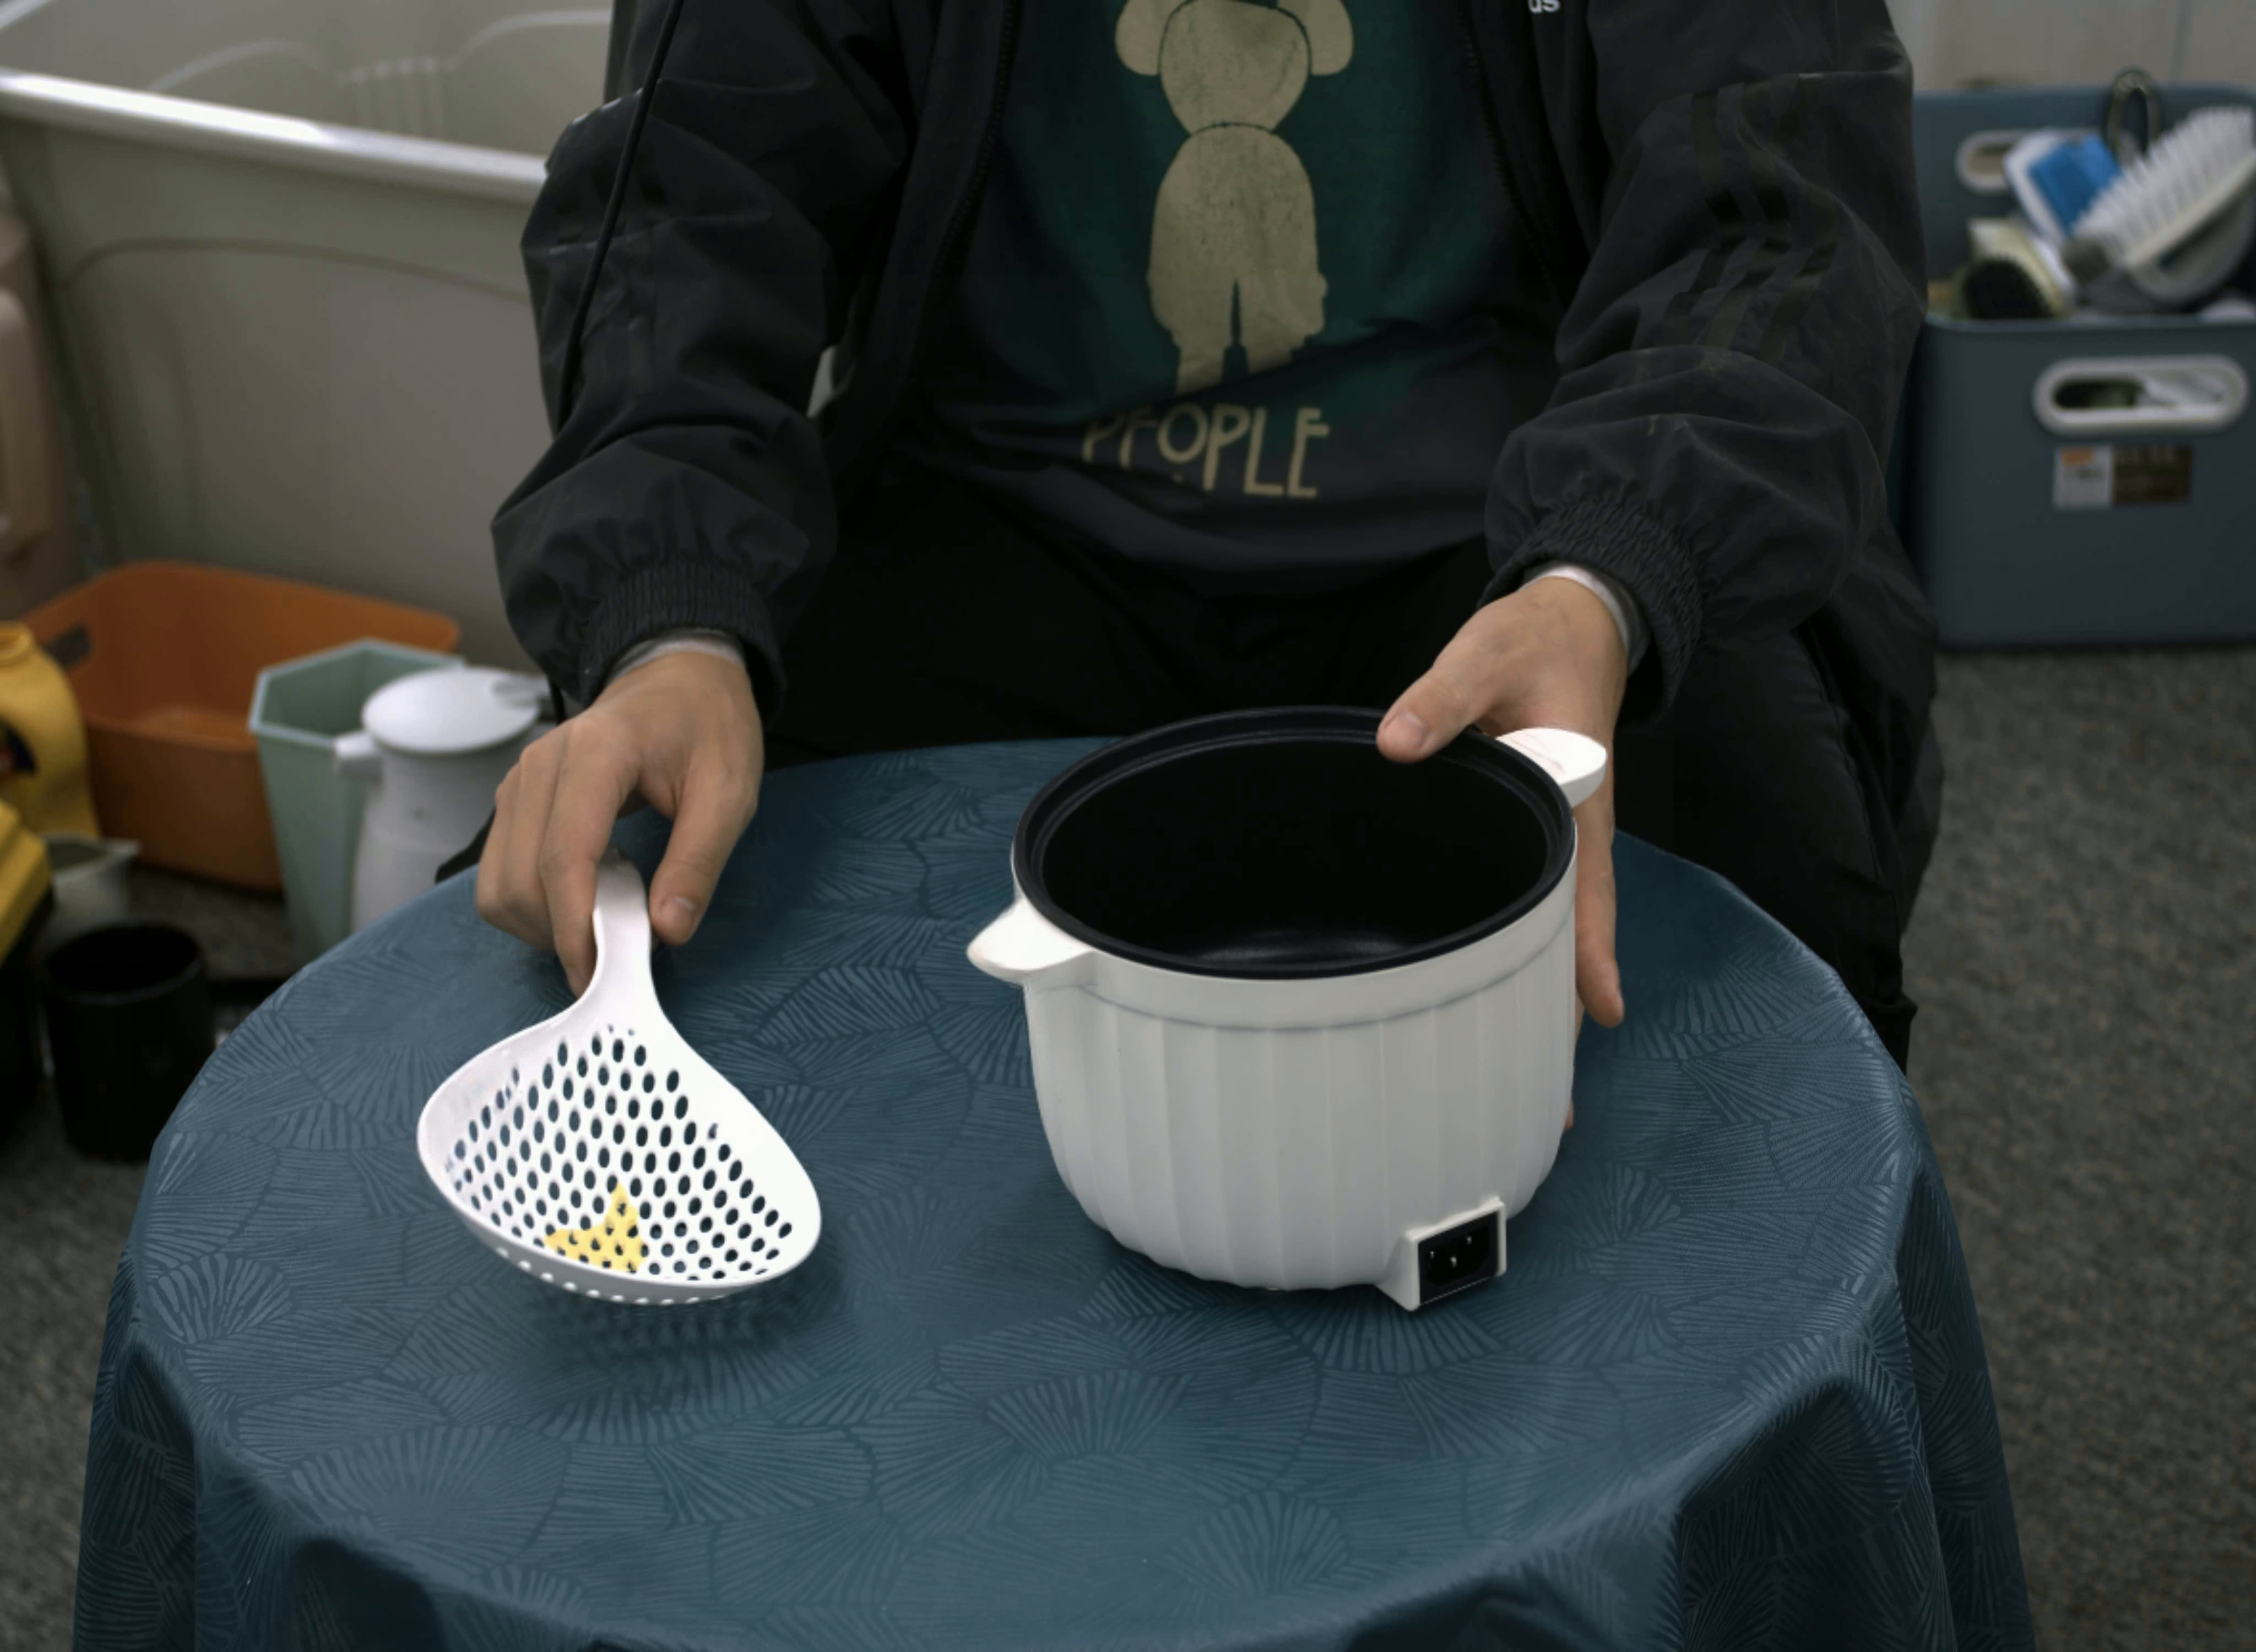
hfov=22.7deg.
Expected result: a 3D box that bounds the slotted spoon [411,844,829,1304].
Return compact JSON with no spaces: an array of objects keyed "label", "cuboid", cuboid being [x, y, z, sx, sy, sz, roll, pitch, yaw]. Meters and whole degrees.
[{"label":"slotted spoon","cuboid":[-0.176,0.074,1.913,0.136,0.050,0.353,10,27,-10]}]

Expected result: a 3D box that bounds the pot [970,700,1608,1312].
[{"label":"pot","cuboid":[0.053,0.058,1.826,0.242,0.141,0.191,-18,33,-29]}]
